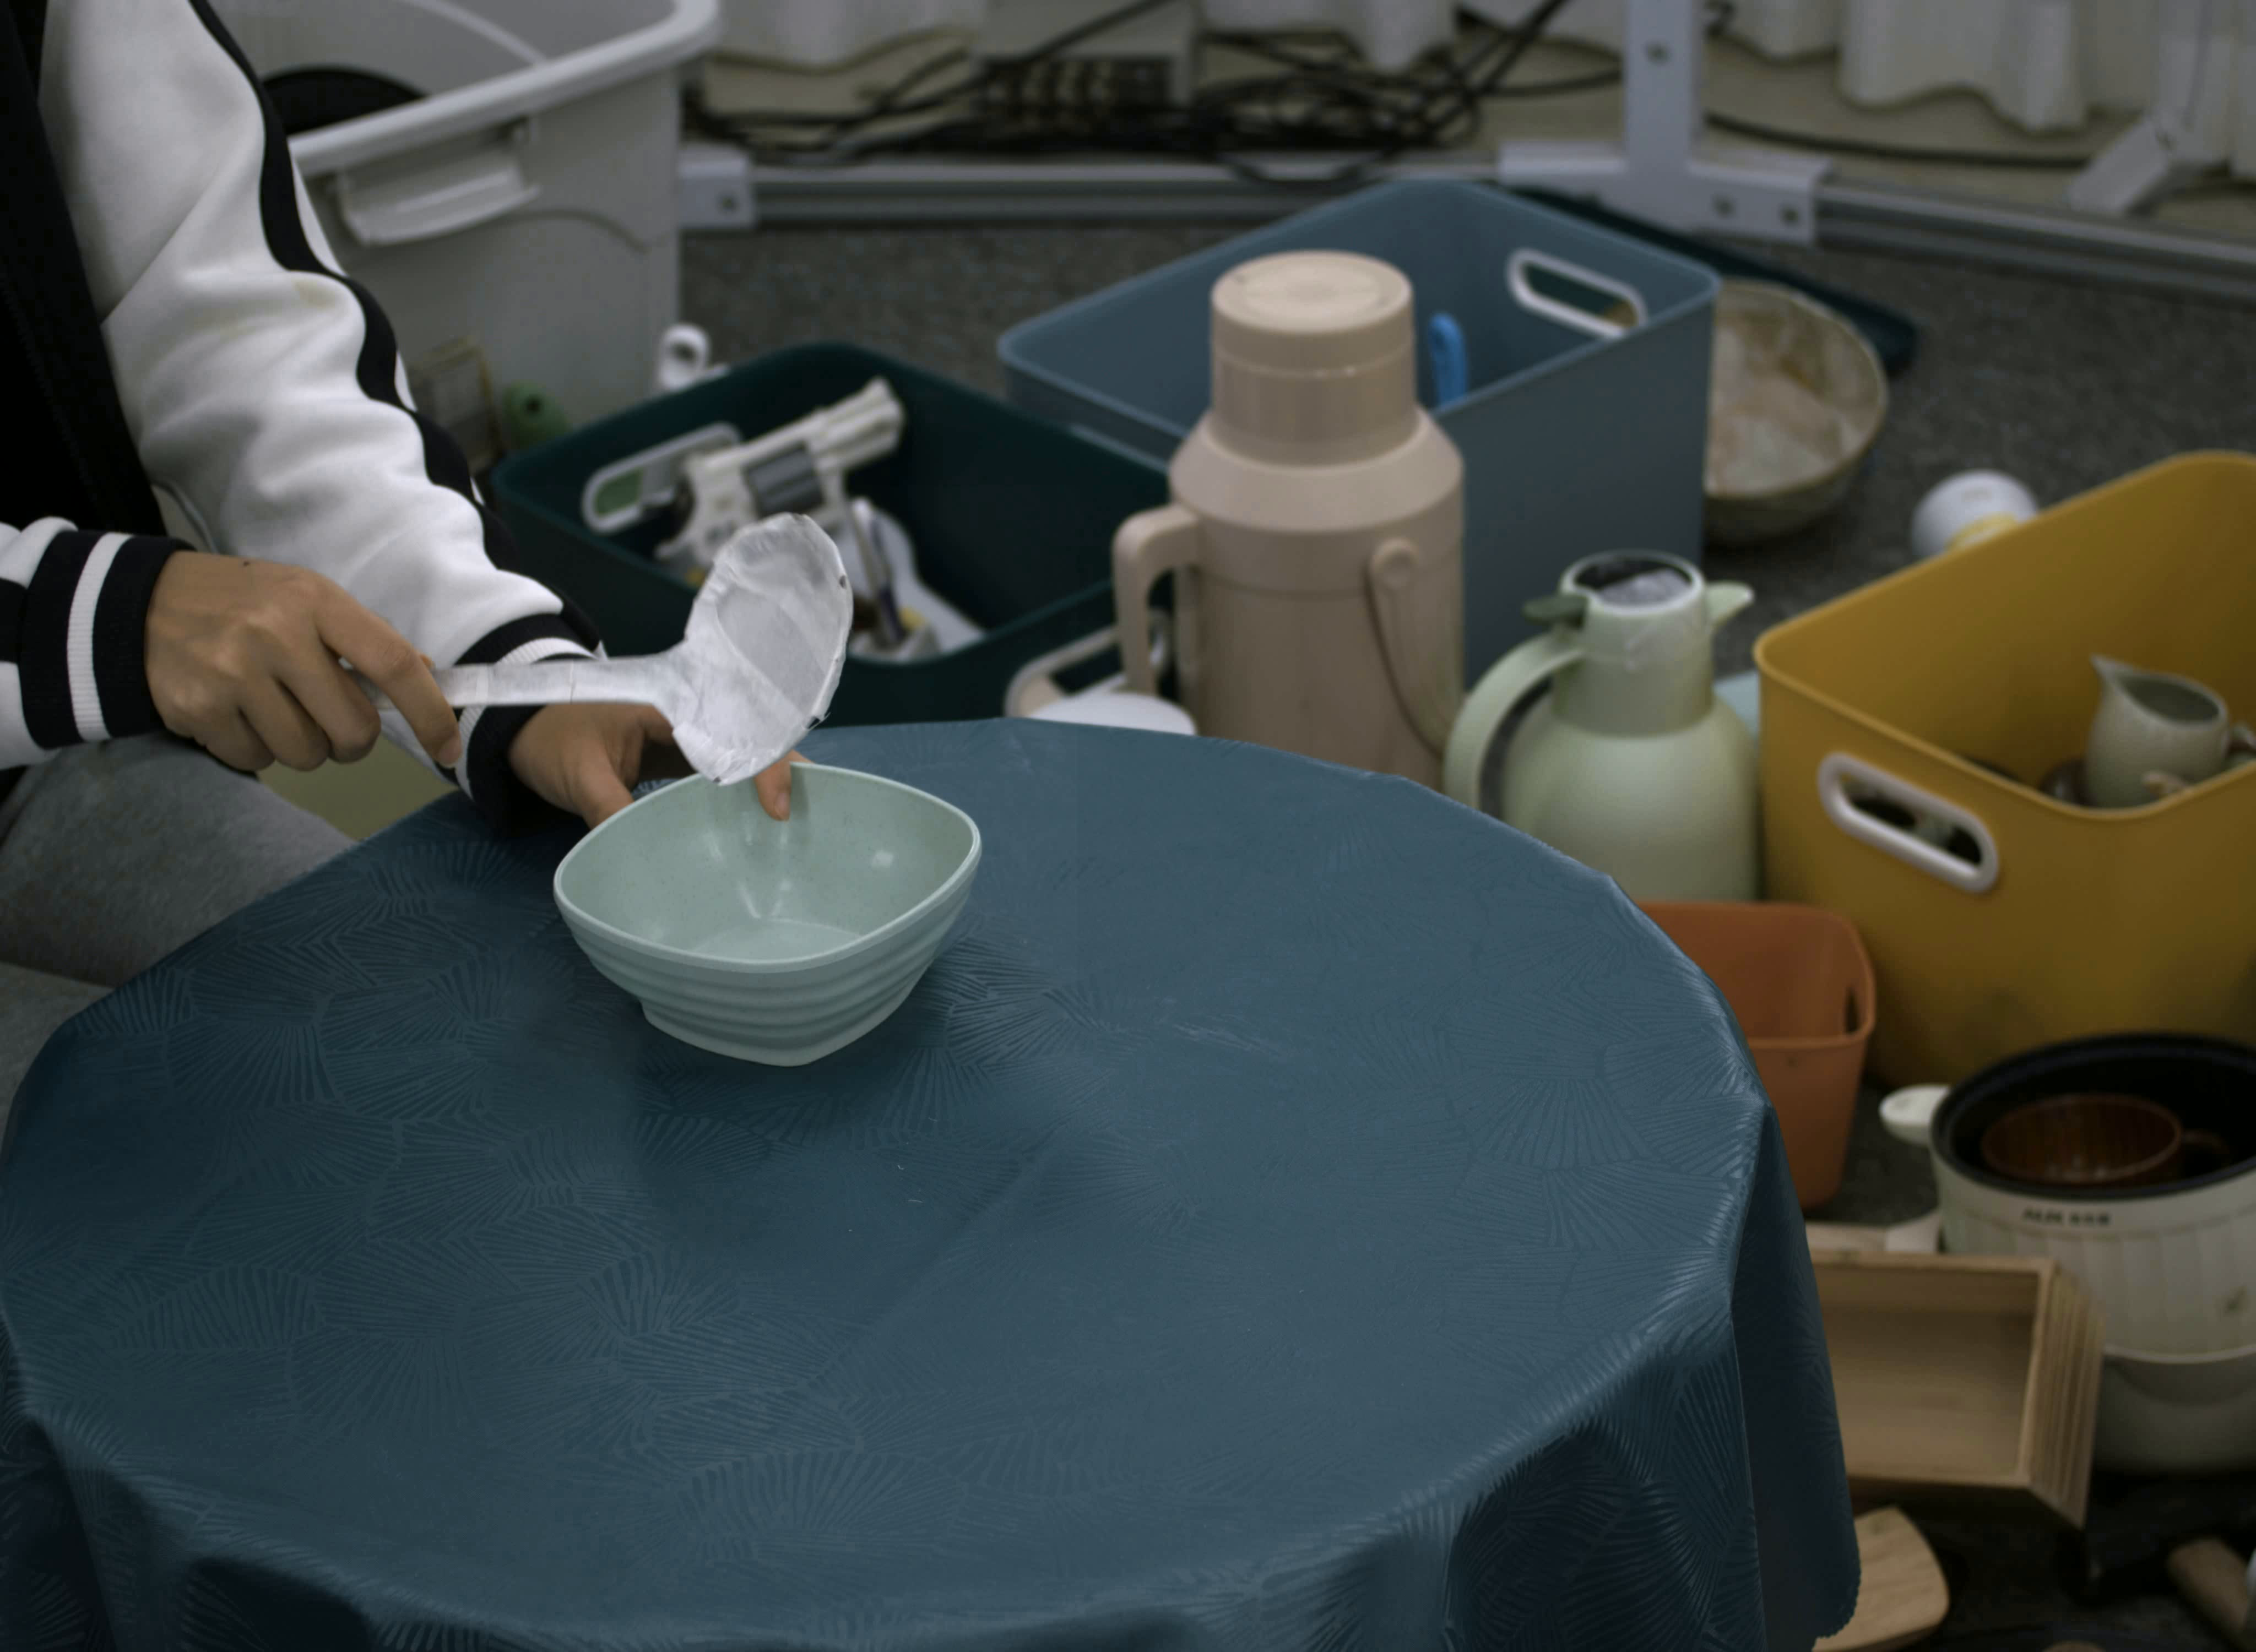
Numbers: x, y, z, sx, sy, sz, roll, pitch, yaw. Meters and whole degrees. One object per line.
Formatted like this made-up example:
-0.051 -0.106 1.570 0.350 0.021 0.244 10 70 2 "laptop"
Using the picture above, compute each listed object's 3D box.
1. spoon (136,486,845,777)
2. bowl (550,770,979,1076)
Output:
-0.218 -0.066 1.899 0.275 0.059 0.102 1 69 16 "spoon"
-0.126 0.040 1.978 0.151 0.058 0.154 -2 27 1 "bowl"
